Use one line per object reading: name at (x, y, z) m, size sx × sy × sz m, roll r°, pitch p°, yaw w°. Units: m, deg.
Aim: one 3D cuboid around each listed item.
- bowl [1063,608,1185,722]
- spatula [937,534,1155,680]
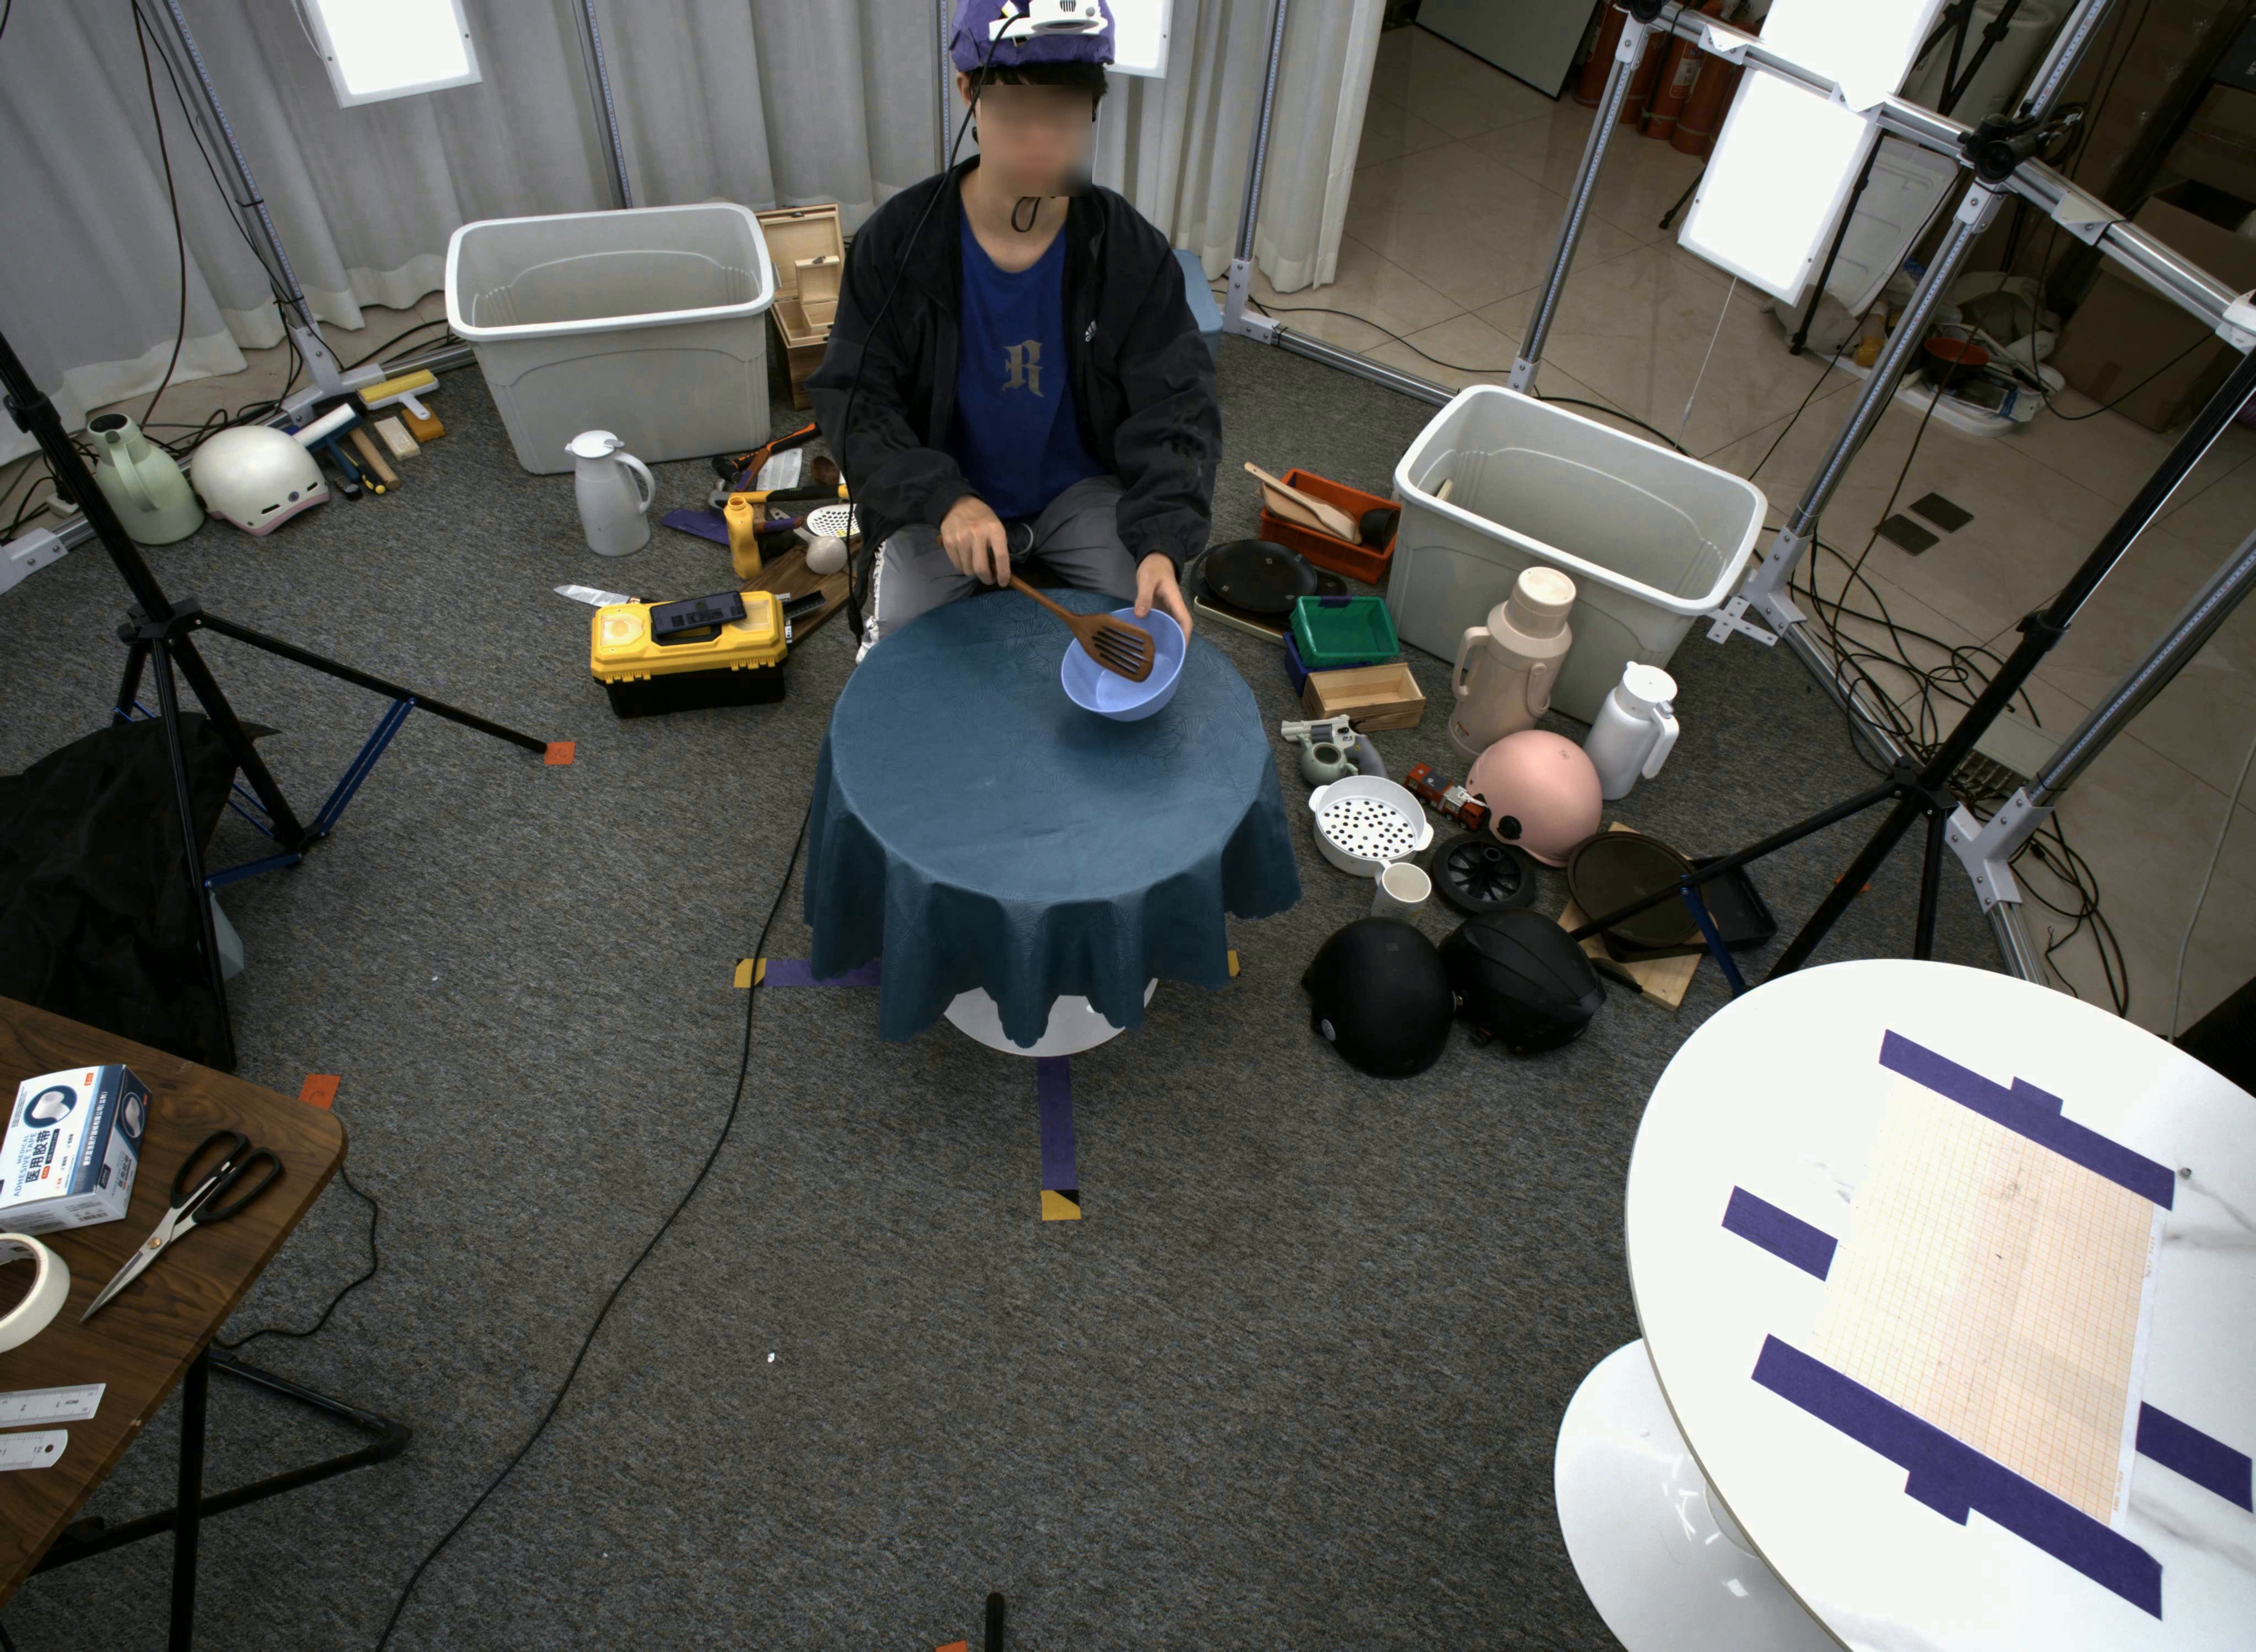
bowl at (0.003, -0.209, 1.755) m, size 0.176 × 0.069 × 0.180 m, roll -11°, pitch 55°, yaw 16°
spatula at (-0.122, -0.315, 1.776) m, size 0.391 × 0.083 × 0.024 m, roll 33°, pitch 45°, yaw 24°
